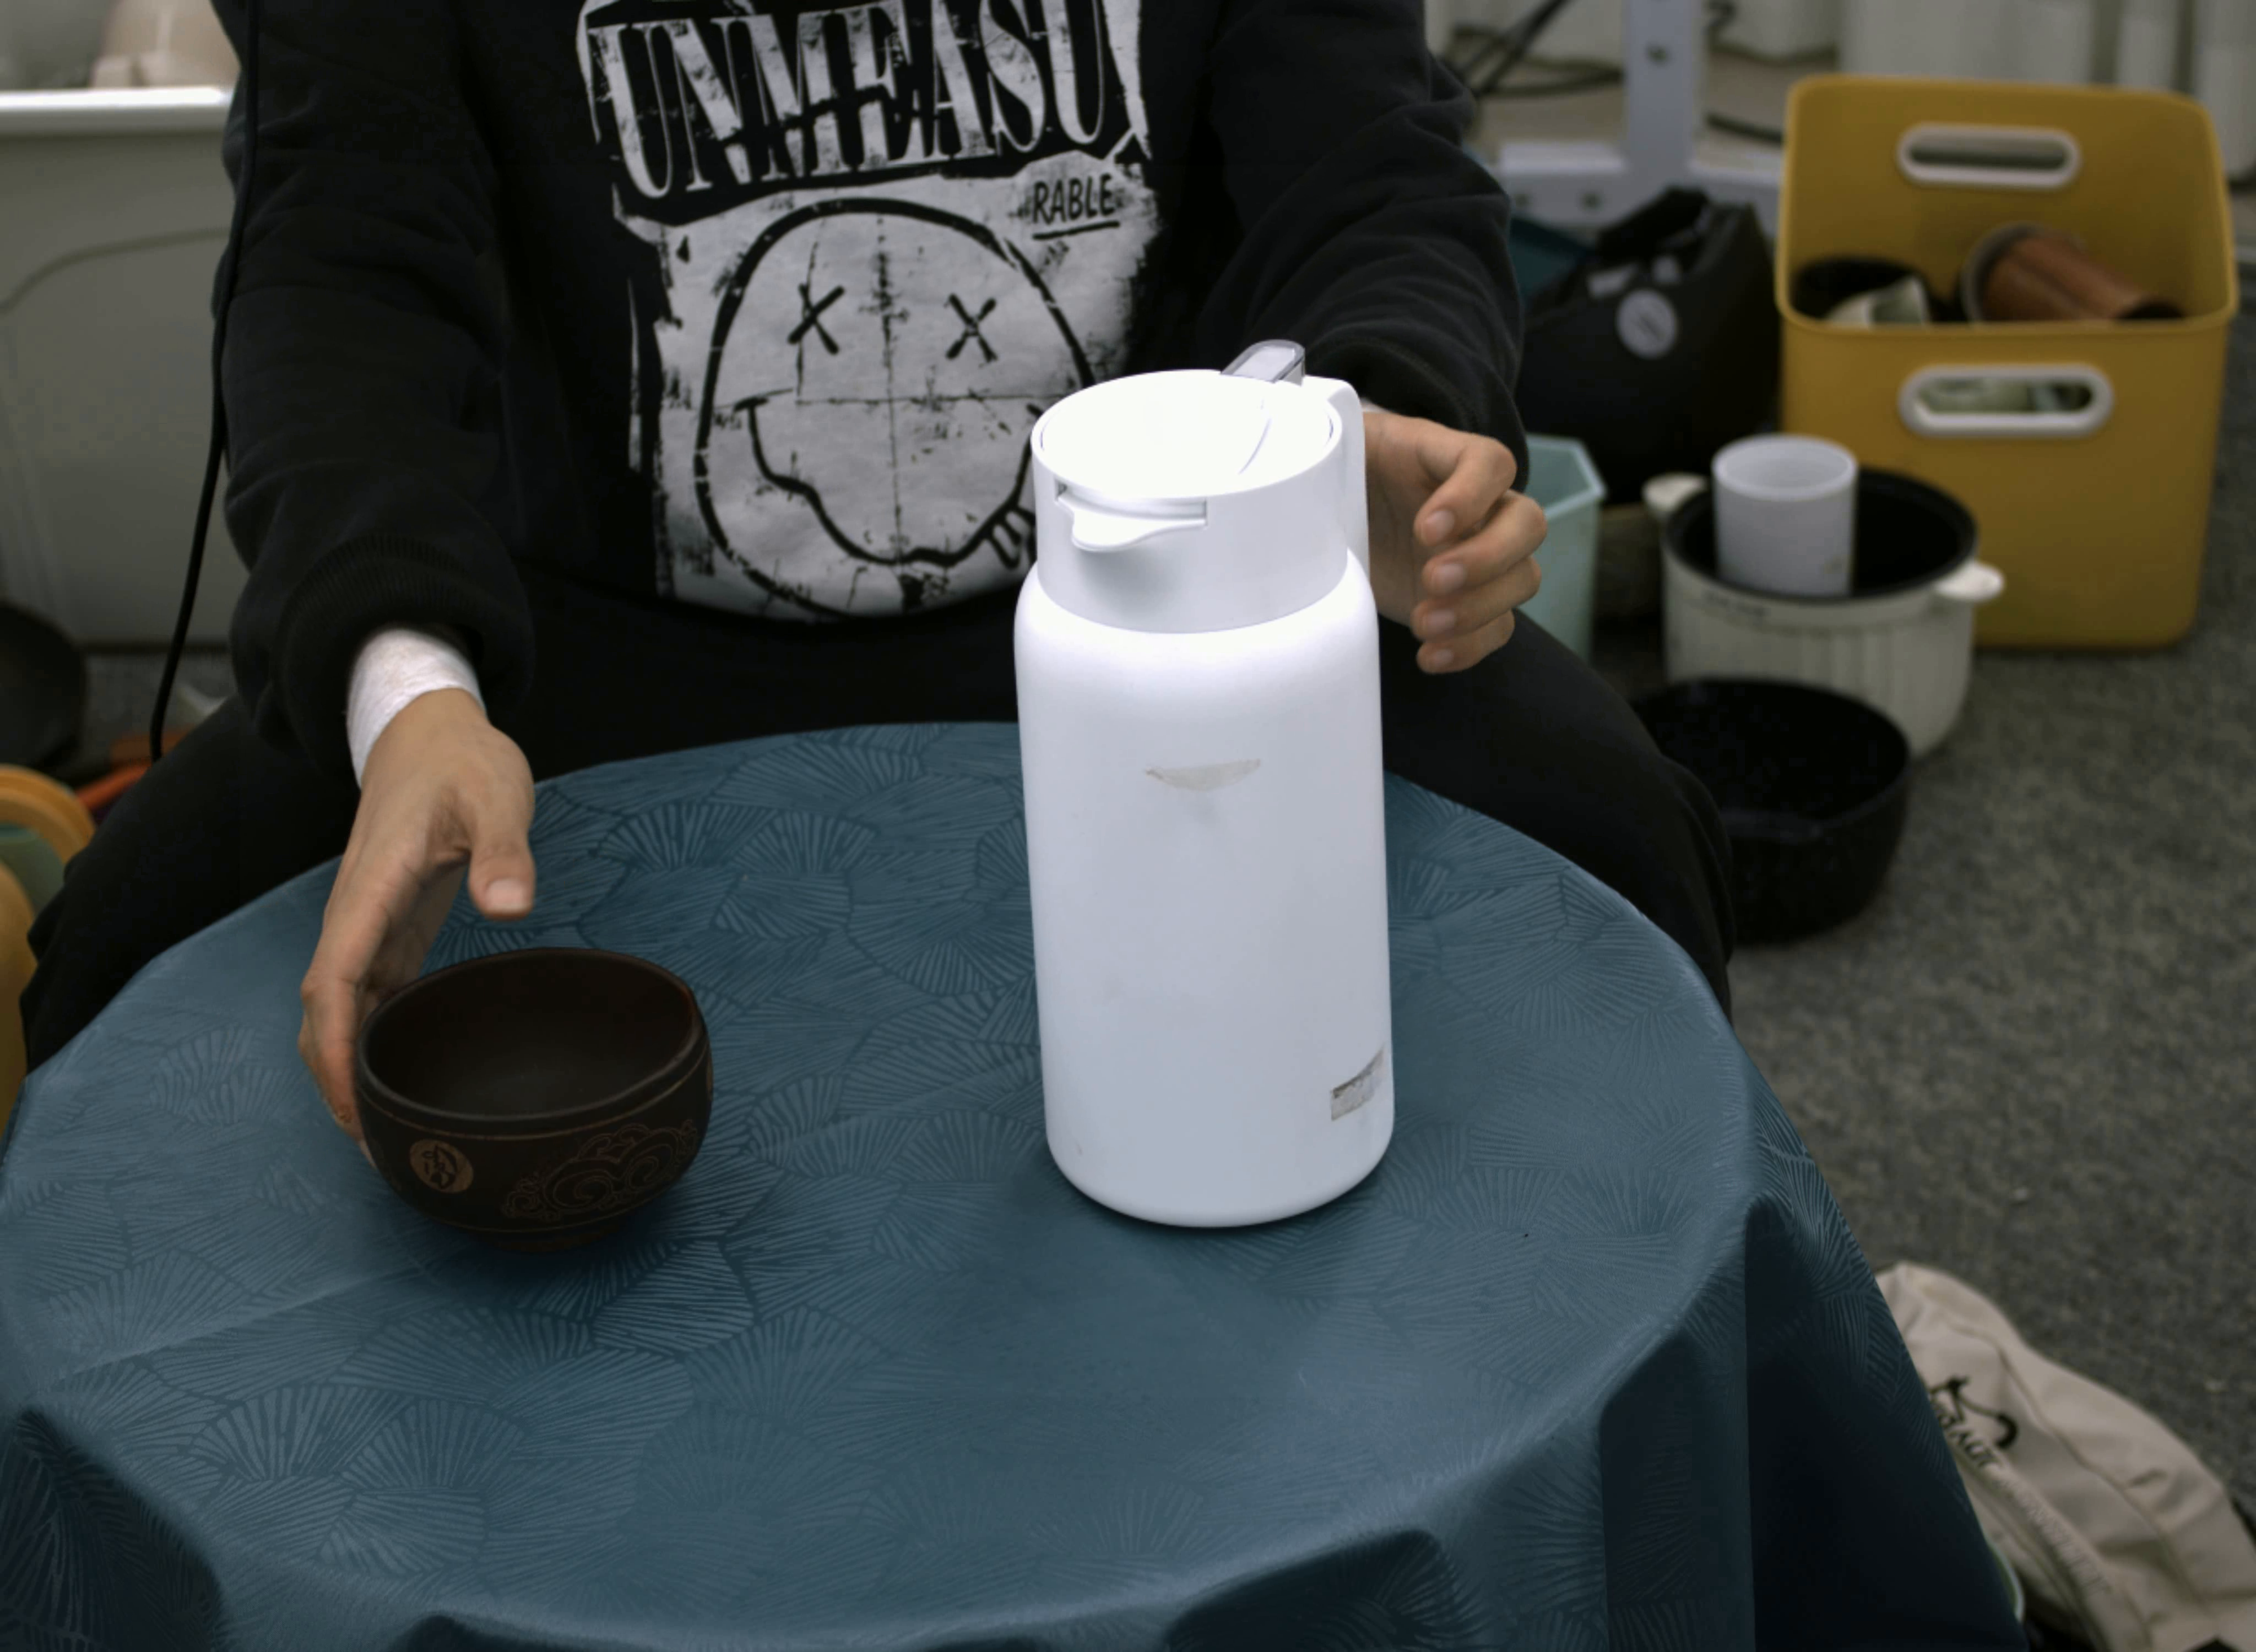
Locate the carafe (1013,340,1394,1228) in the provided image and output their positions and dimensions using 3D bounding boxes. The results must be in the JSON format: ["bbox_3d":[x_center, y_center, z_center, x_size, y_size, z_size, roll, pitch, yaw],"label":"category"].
[{"bbox_3d":[0.031,-0.017,1.838,0.123,0.266,0.176,7,28,24],"label":"carafe"}]

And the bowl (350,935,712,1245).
[{"bbox_3d":[-0.195,0.095,1.850,0.117,0.069,0.120,-2,28,2],"label":"bowl"}]
